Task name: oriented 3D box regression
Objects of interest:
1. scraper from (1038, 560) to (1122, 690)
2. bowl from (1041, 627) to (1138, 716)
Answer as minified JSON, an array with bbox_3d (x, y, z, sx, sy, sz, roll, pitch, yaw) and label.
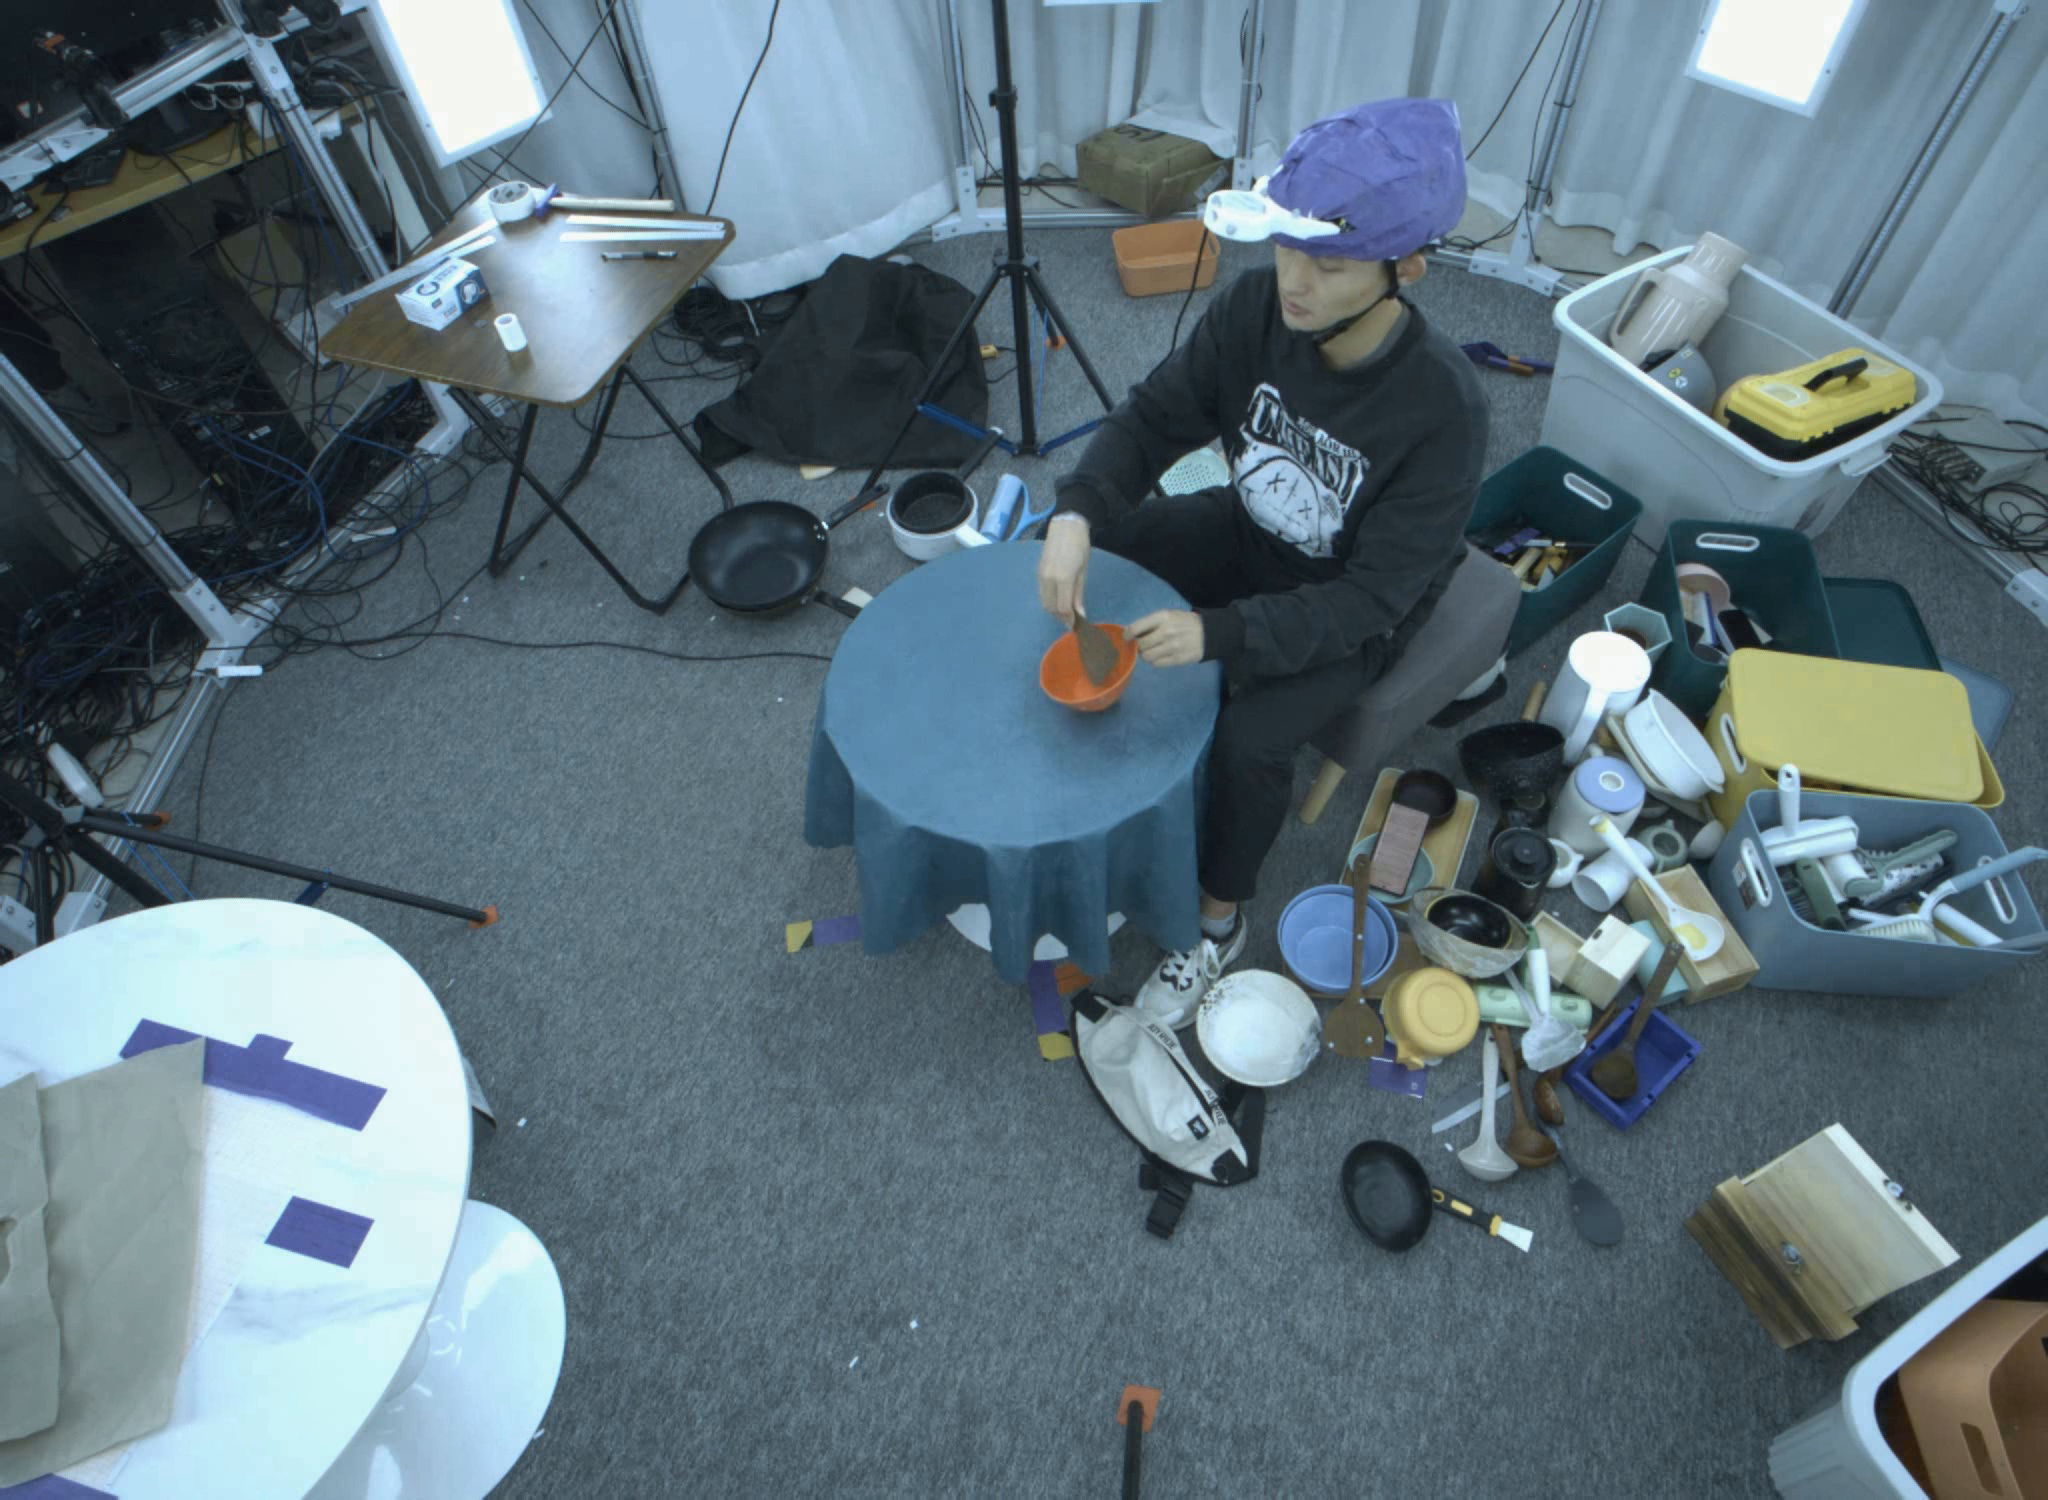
[{"bbox_3d":[0.075,-0.186,1.760,0.011,0.075,0.209,-15,67,-39],"label":"scraper"},{"bbox_3d":[0.104,-0.099,1.794,0.147,0.106,0.146,-7,59,14],"label":"bowl"}]
